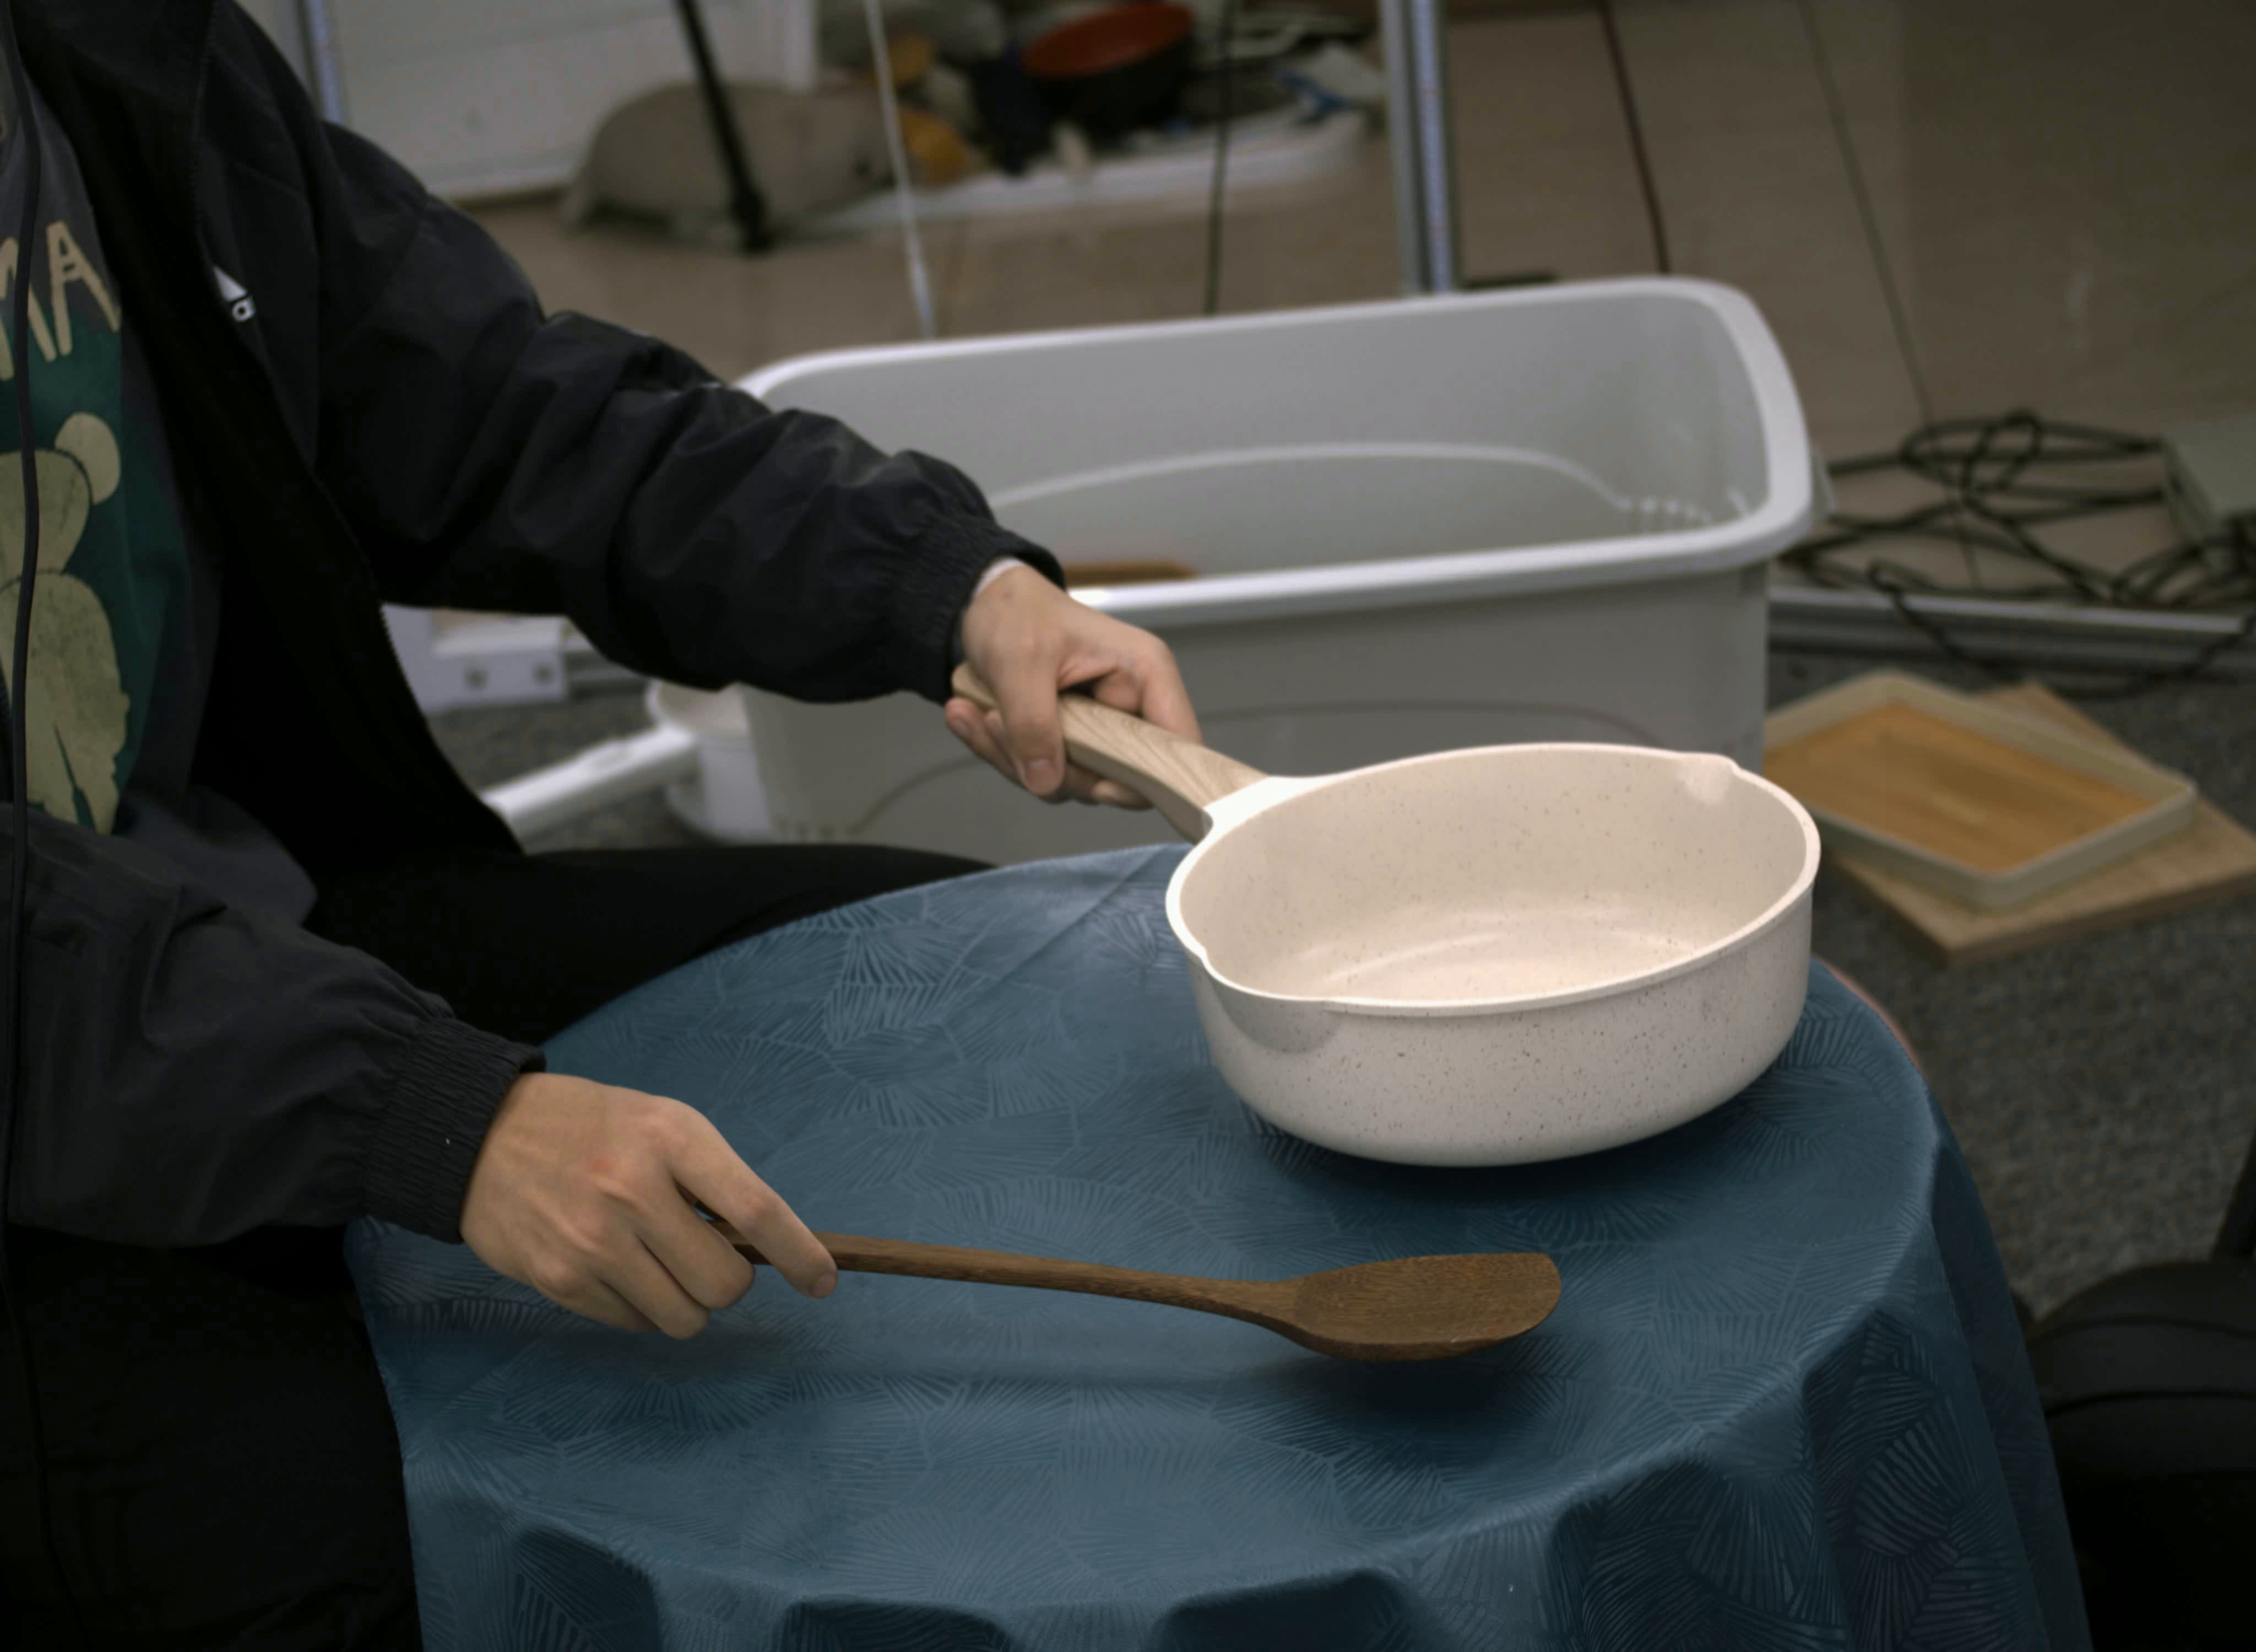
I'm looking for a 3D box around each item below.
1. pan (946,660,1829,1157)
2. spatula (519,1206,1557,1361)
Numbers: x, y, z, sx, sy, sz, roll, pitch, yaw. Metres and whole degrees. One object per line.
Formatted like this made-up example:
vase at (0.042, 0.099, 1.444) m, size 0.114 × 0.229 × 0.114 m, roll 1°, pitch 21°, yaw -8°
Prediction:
pan at (0.084, 0.022, 2.239) m, size 0.261 × 0.103 × 0.431 m, roll -27°, pitch 30°, yaw -35°
spatula at (-0.038, 0.158, 2.024) m, size 0.385 × 0.016 × 0.095 m, roll 4°, pitch 17°, yaw 16°
